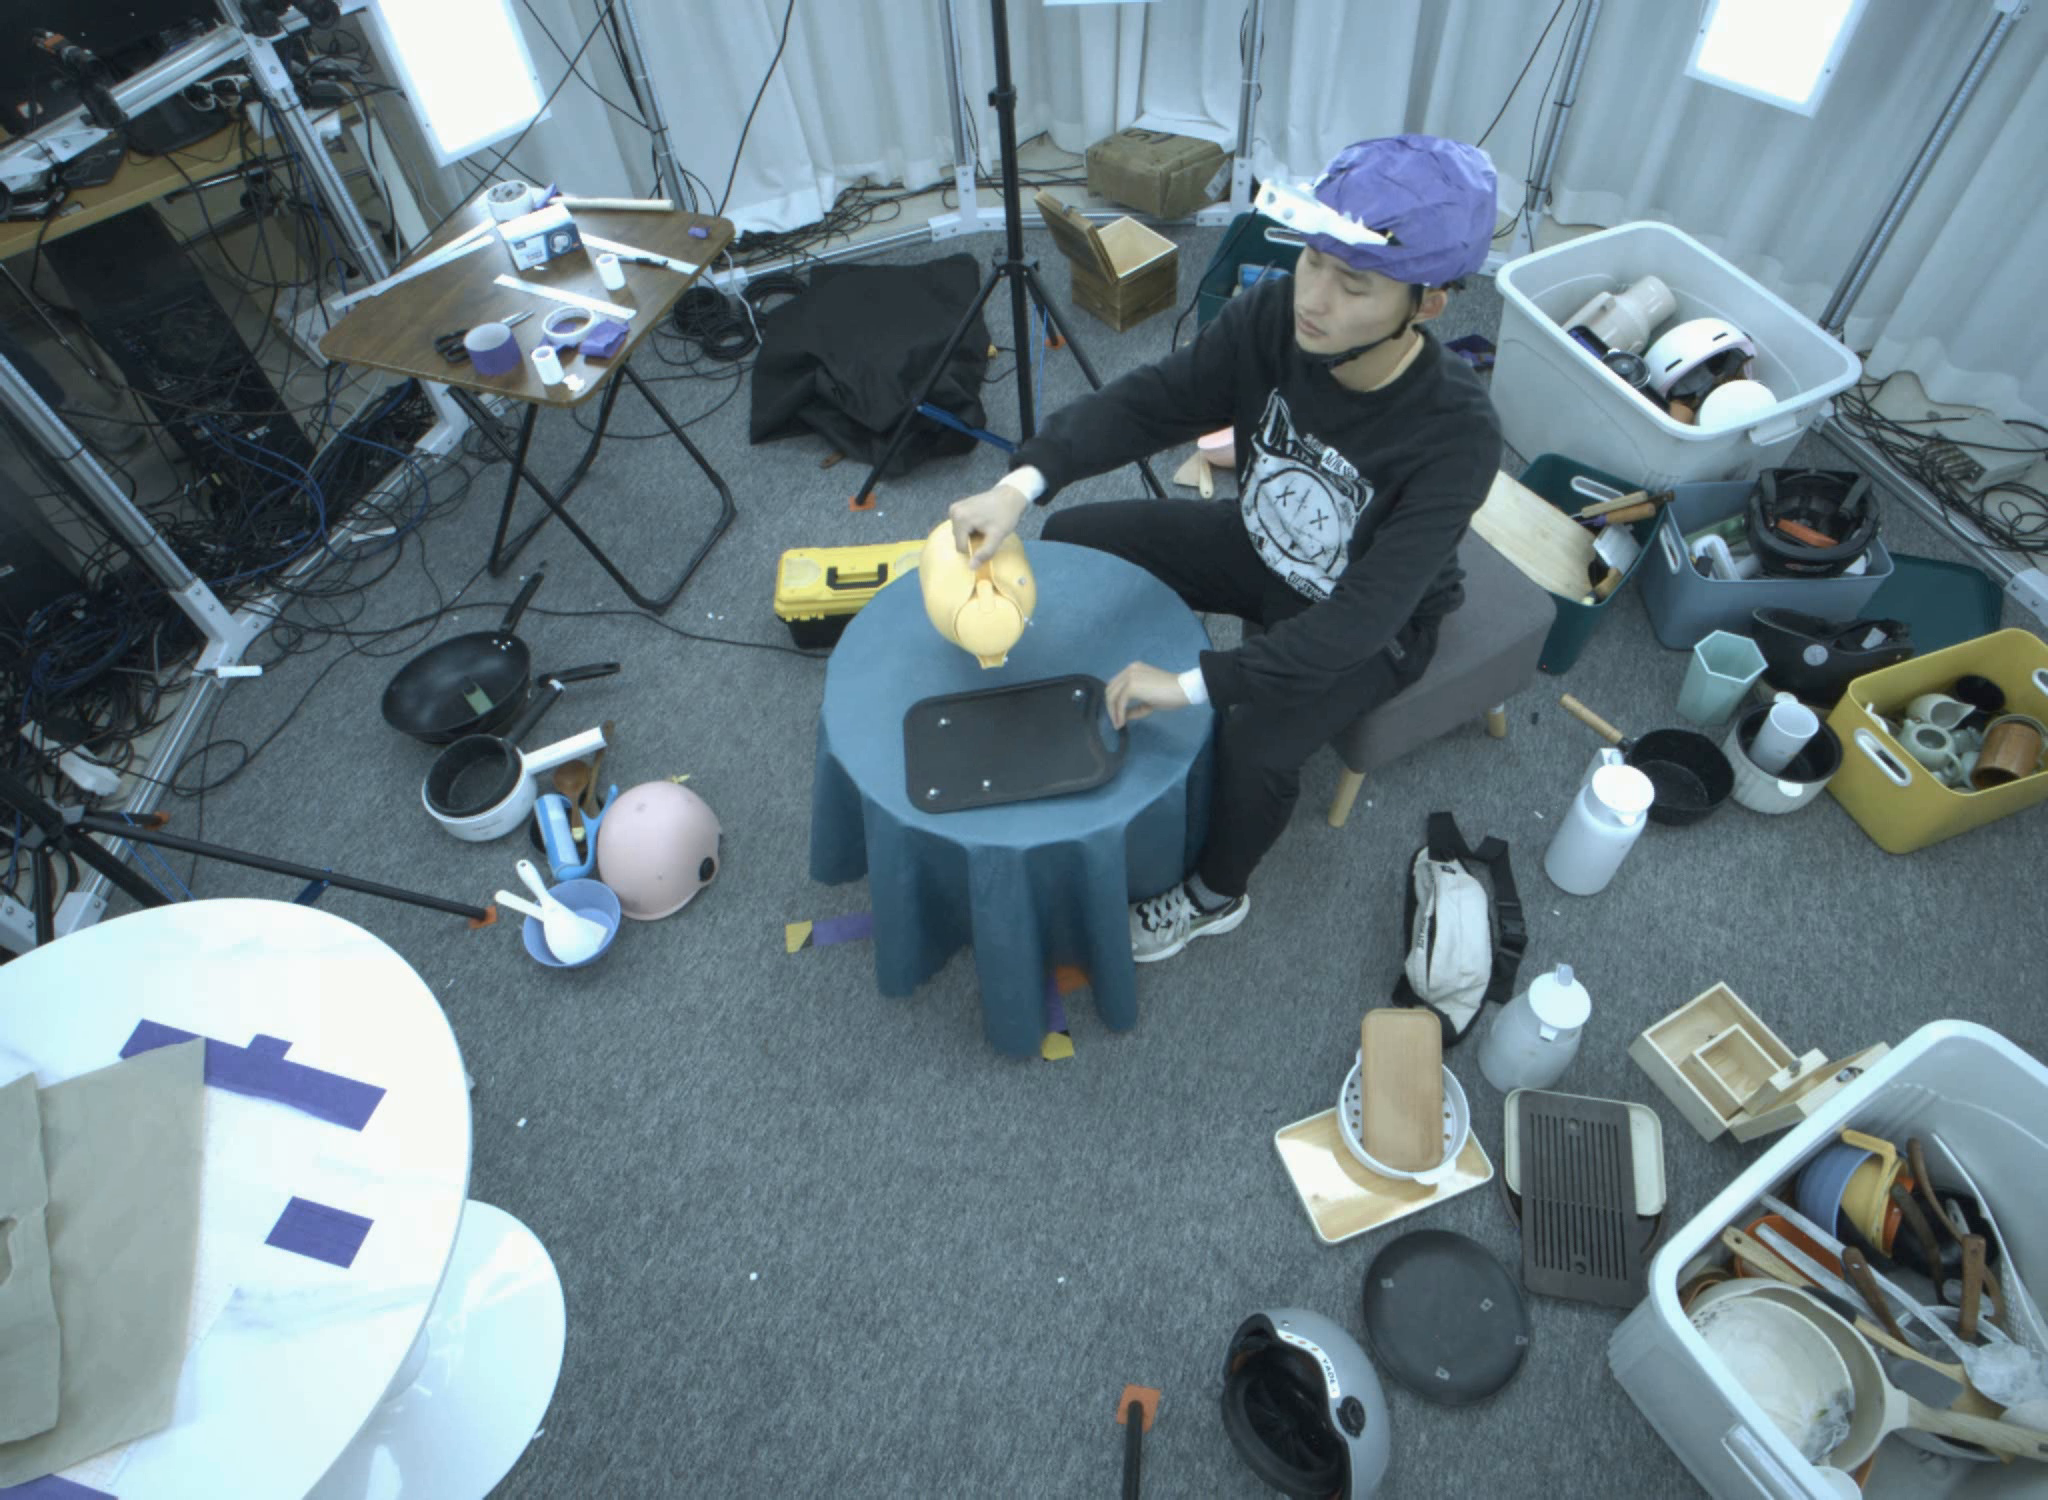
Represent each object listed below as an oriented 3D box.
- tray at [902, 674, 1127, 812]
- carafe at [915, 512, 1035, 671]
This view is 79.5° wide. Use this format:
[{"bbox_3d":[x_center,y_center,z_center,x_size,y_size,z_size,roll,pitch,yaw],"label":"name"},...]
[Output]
[{"bbox_3d":[-0.015,-0.016,1.779,0.325,0.010,0.208,-8,55,1],"label":"tray"},{"bbox_3d":[-0.066,-0.243,1.740,0.164,0.204,0.256,-7,33,-9],"label":"carafe"}]
